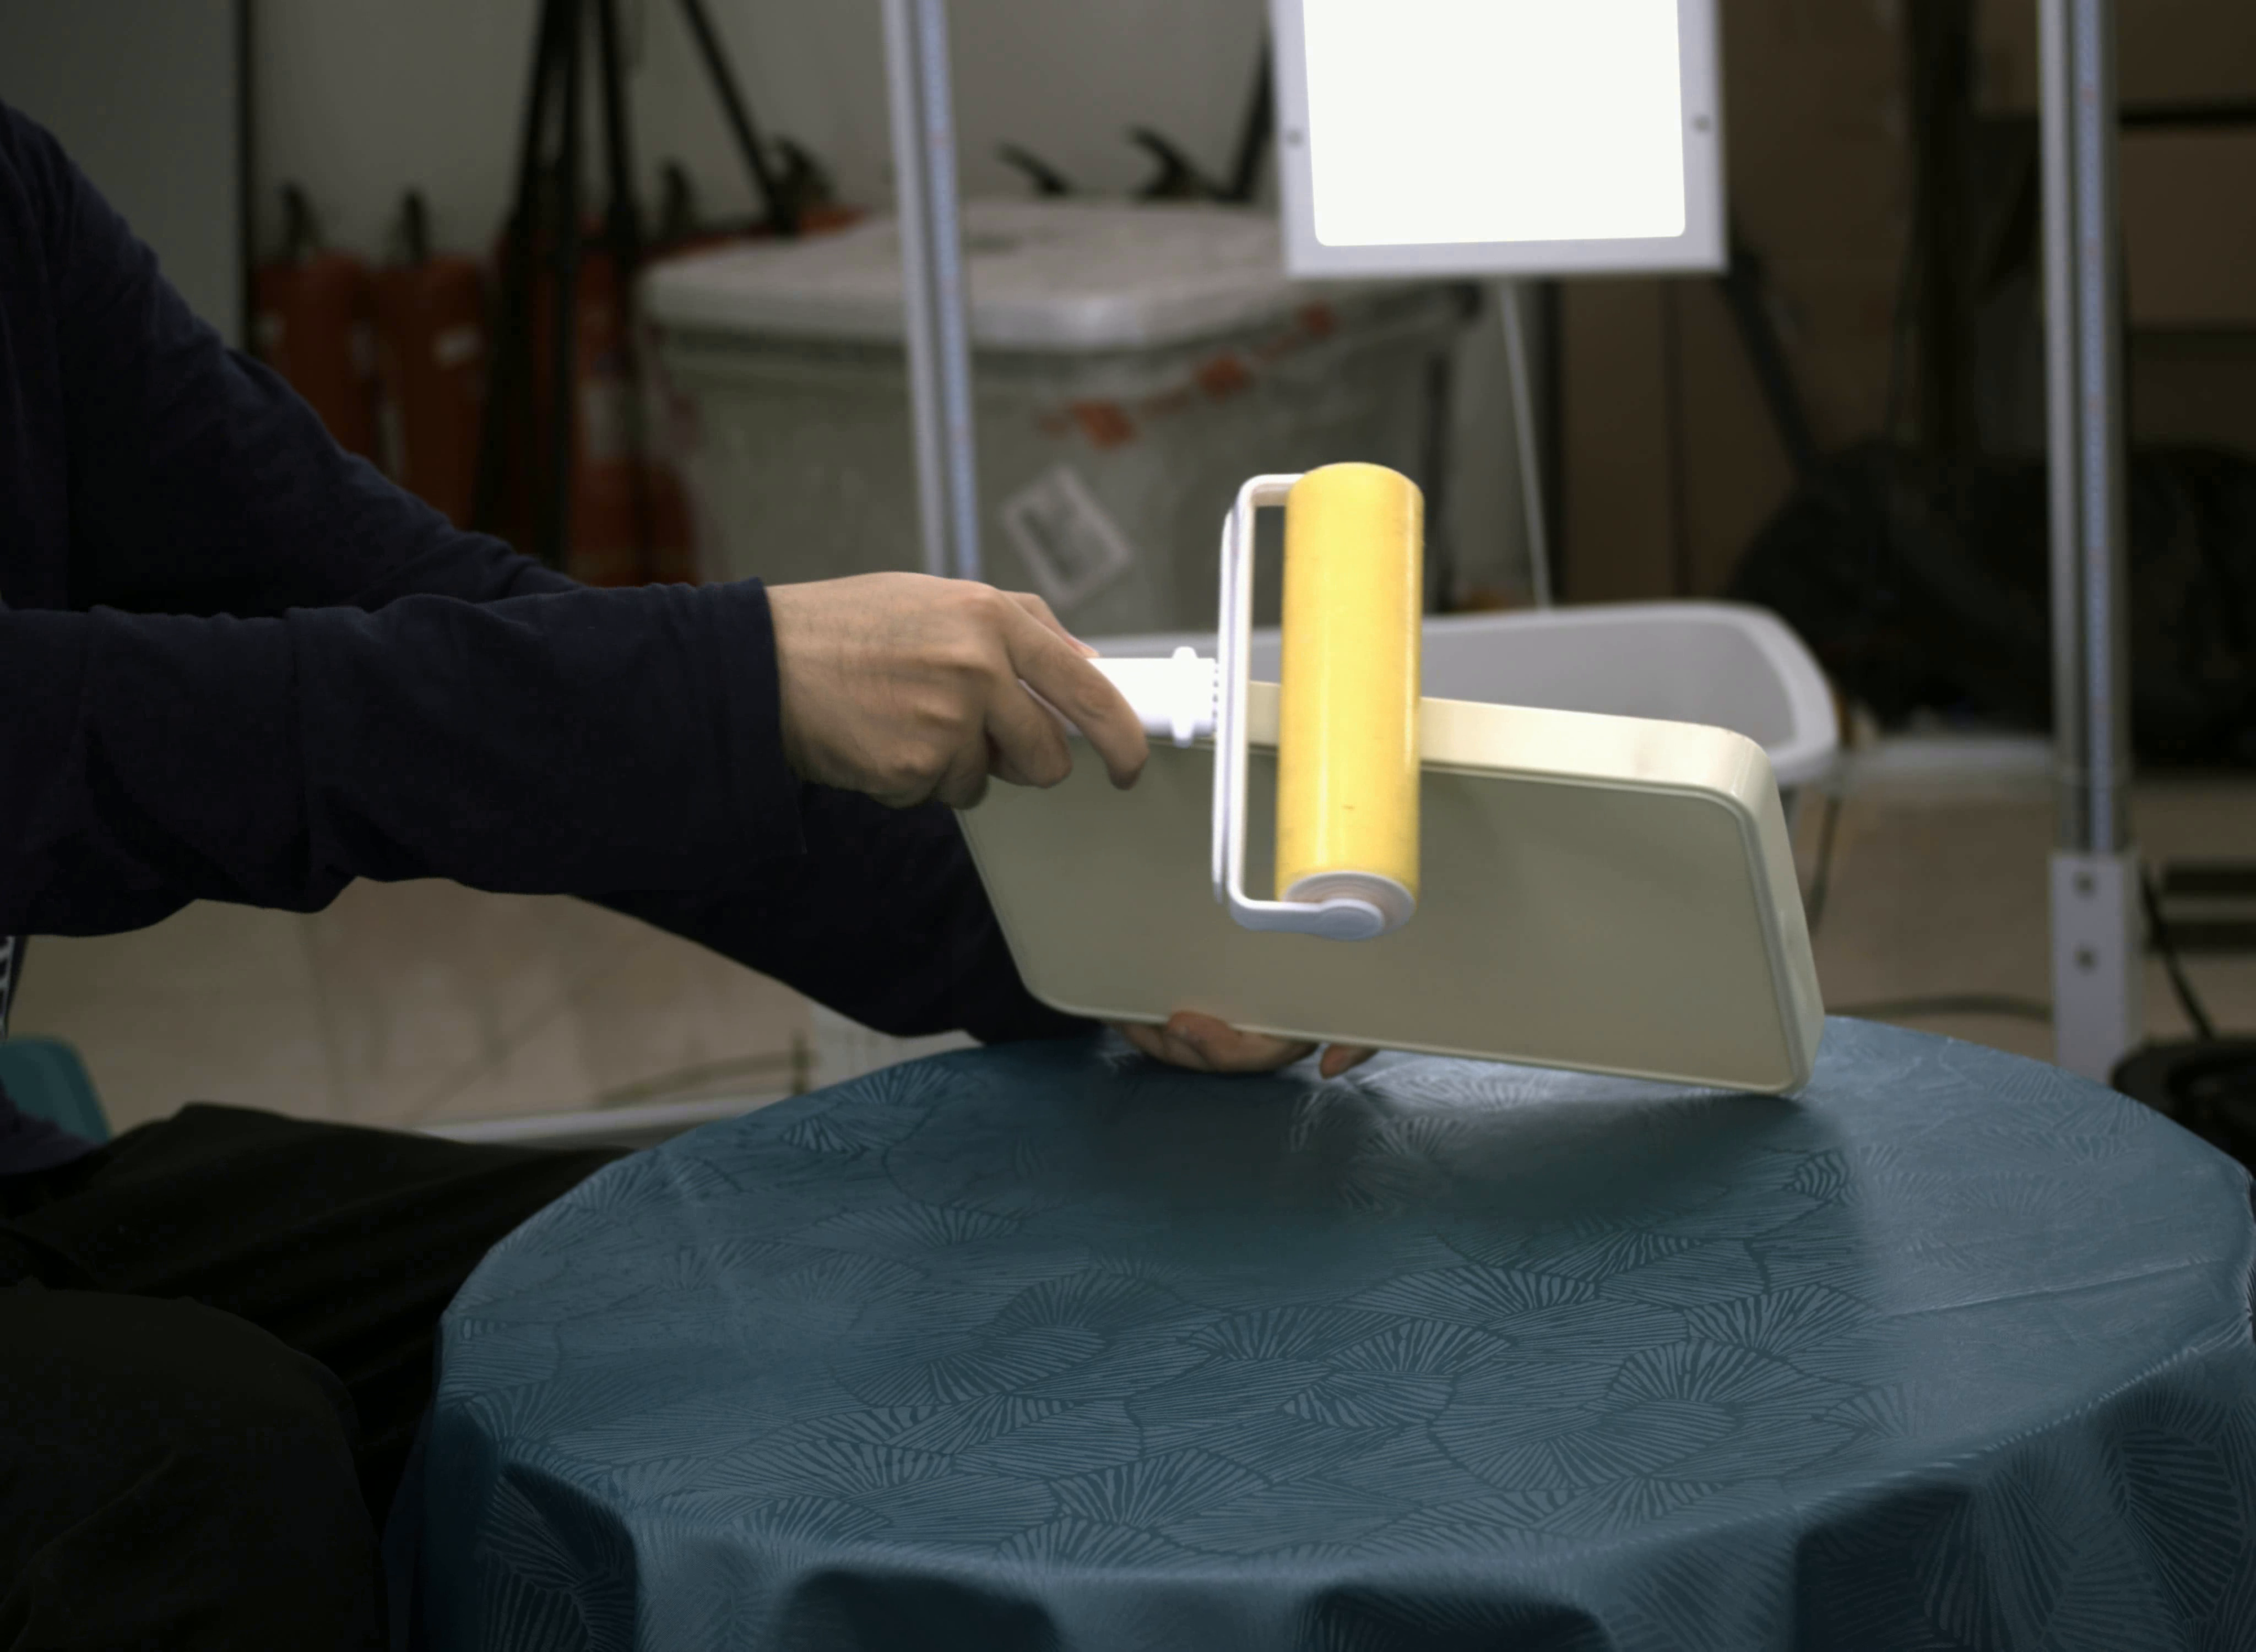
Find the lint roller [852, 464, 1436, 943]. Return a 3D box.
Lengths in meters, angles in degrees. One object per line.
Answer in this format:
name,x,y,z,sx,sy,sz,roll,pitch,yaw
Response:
lint roller,0.005,-0.045,1.826,0.191,0.174,0.052,3,-31,-3

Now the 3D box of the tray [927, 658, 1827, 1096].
tray,0.088,0.019,1.928,0.304,0.191,0.027,6,55,21
